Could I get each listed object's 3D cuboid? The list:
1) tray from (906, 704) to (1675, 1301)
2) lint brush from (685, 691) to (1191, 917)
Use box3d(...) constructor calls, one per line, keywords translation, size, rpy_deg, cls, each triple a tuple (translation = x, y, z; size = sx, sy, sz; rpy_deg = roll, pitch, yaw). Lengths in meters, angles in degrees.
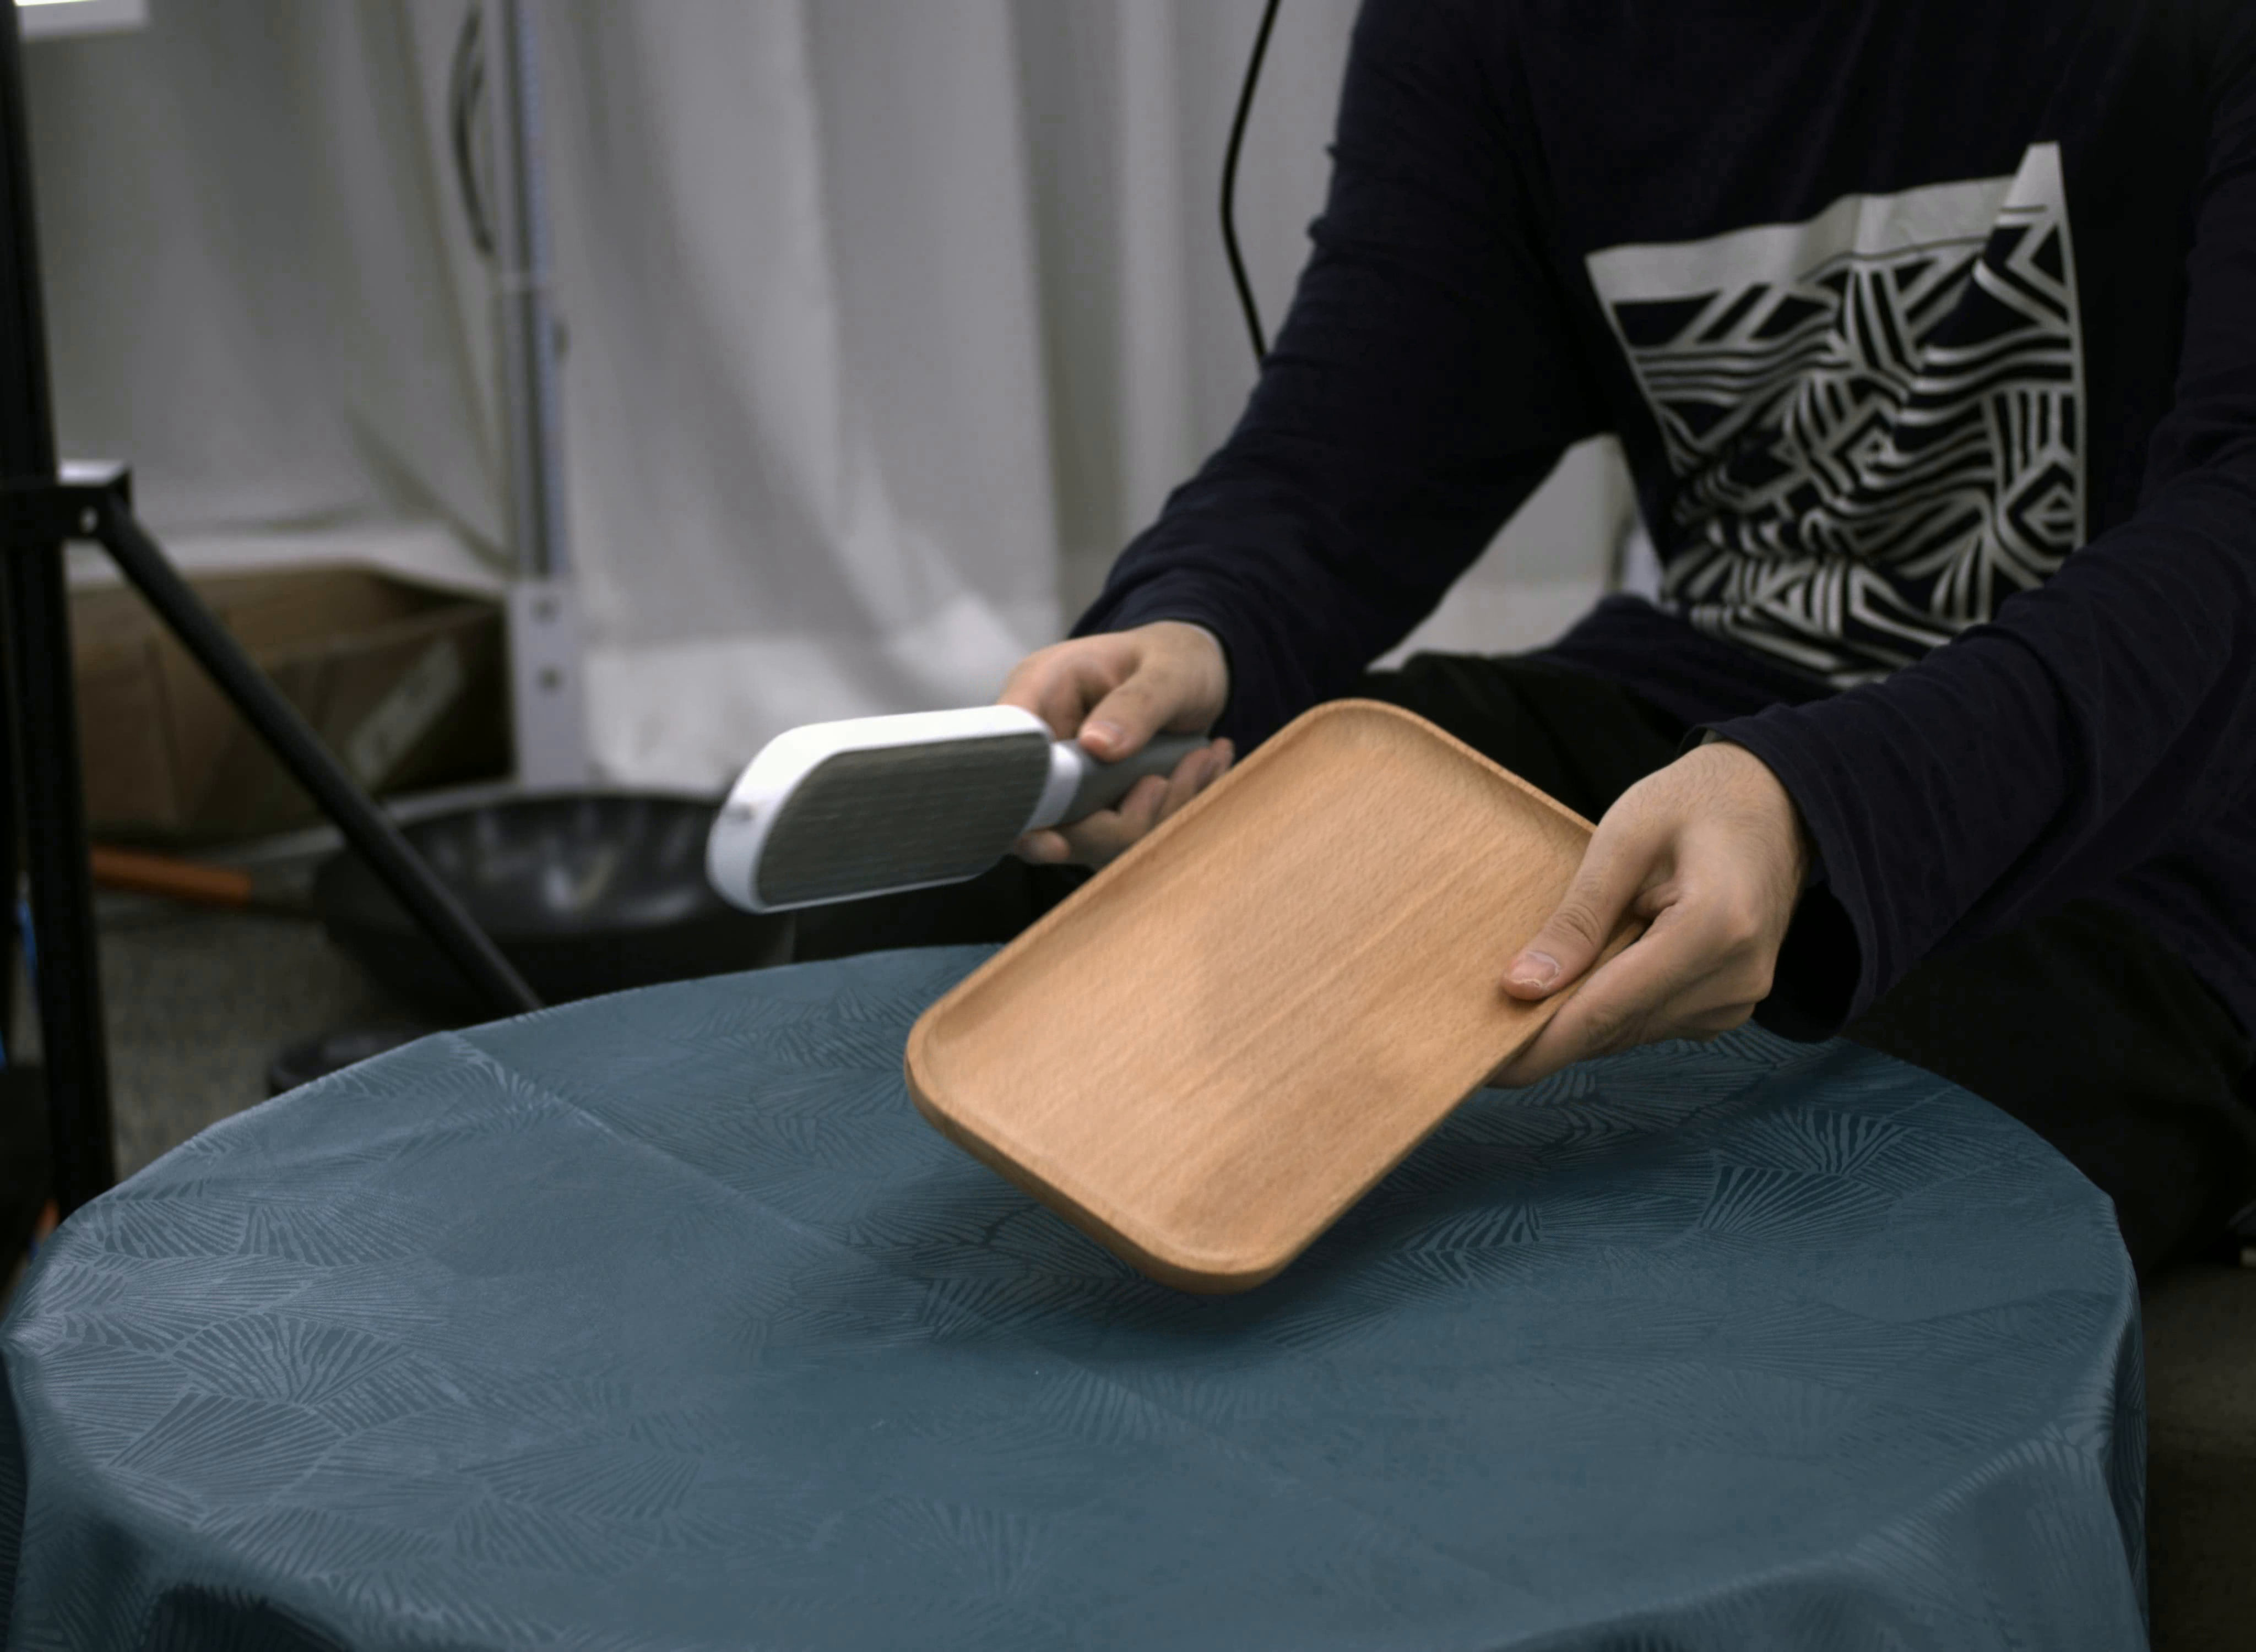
box3d(translation=(0.050, 0.048, 1.534), size=(0.132, 0.023, 0.247), rpy_deg=(35, 45, 21), cls="tray")
box3d(translation=(-0.051, -0.012, 1.625), size=(0.021, 0.060, 0.303), rpy_deg=(25, 15, 22), cls="lint brush")
